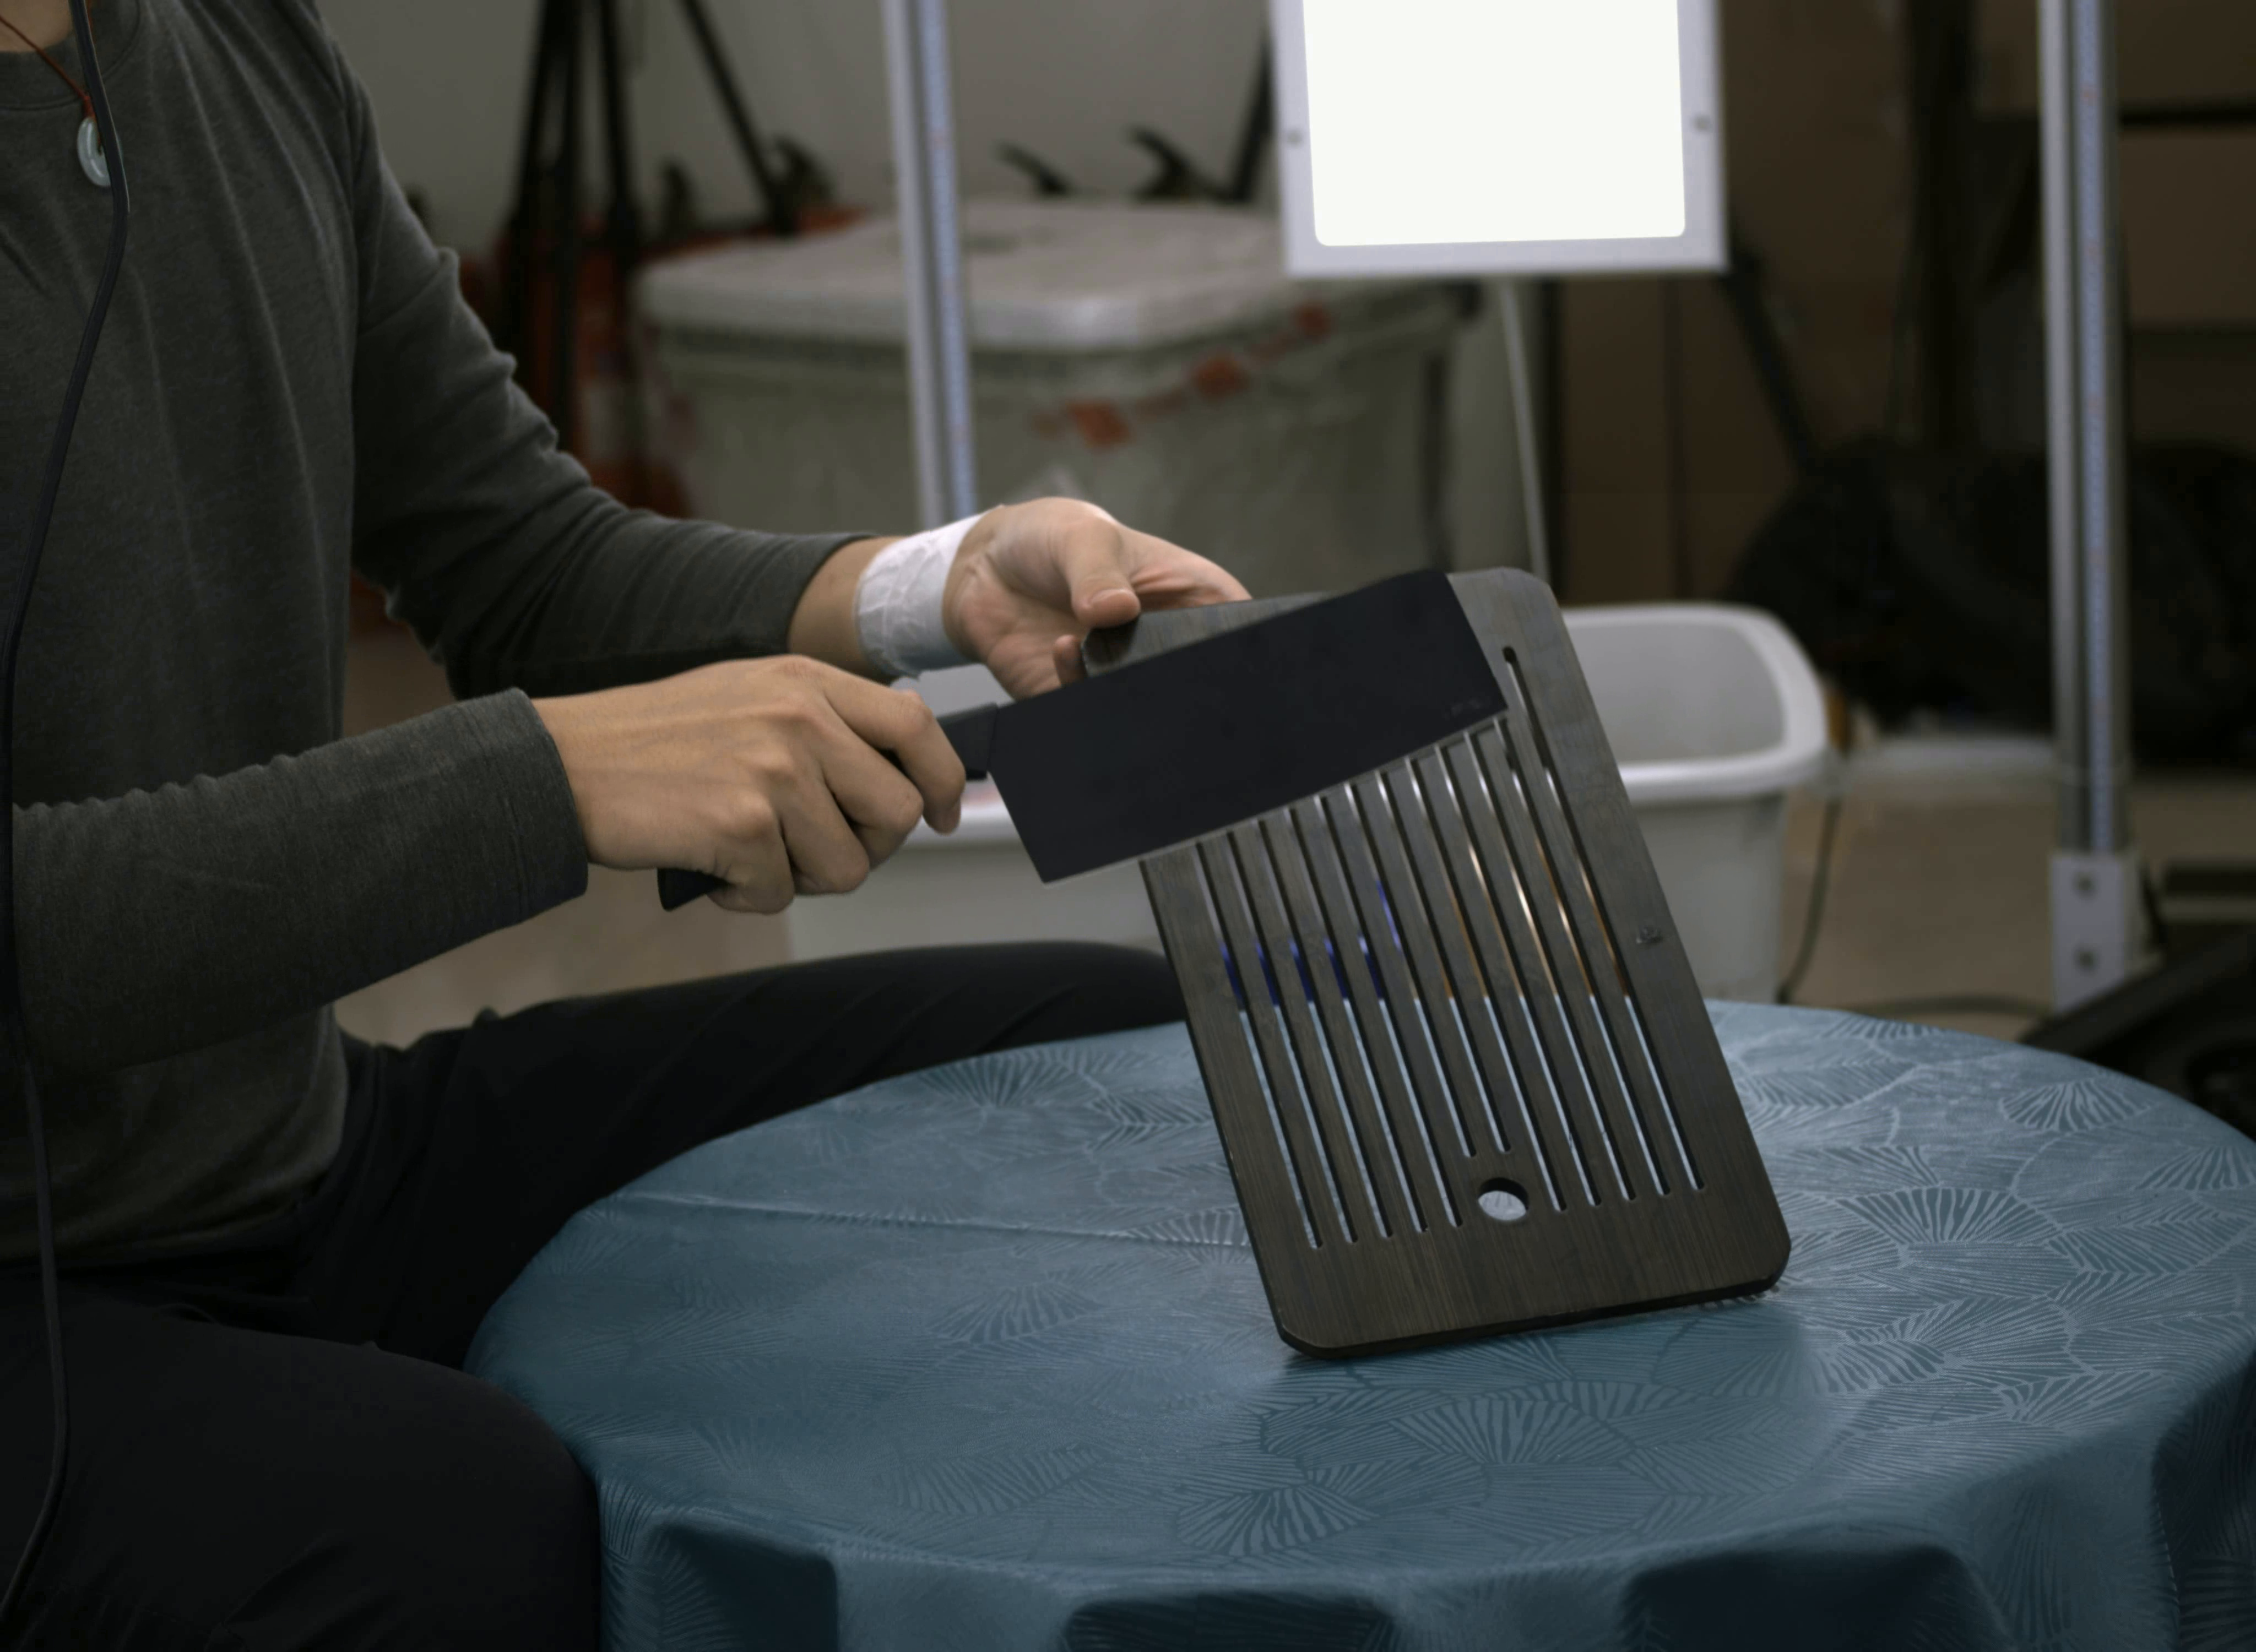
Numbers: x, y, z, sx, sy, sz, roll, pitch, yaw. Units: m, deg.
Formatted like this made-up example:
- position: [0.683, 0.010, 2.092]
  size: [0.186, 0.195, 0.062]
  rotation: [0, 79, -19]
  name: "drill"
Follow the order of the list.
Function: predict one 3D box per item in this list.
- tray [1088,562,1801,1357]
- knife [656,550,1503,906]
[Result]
- position: [0.100, 0.039, 1.816]
  size: [0.168, 0.019, 0.307]
  rotation: [-9, 52, -9]
  name: "tray"
- position: [-0.016, -0.024, 1.836]
  size: [0.298, 0.081, 0.021]
  rotation: [-15, -20, -15]
  name: "knife"
